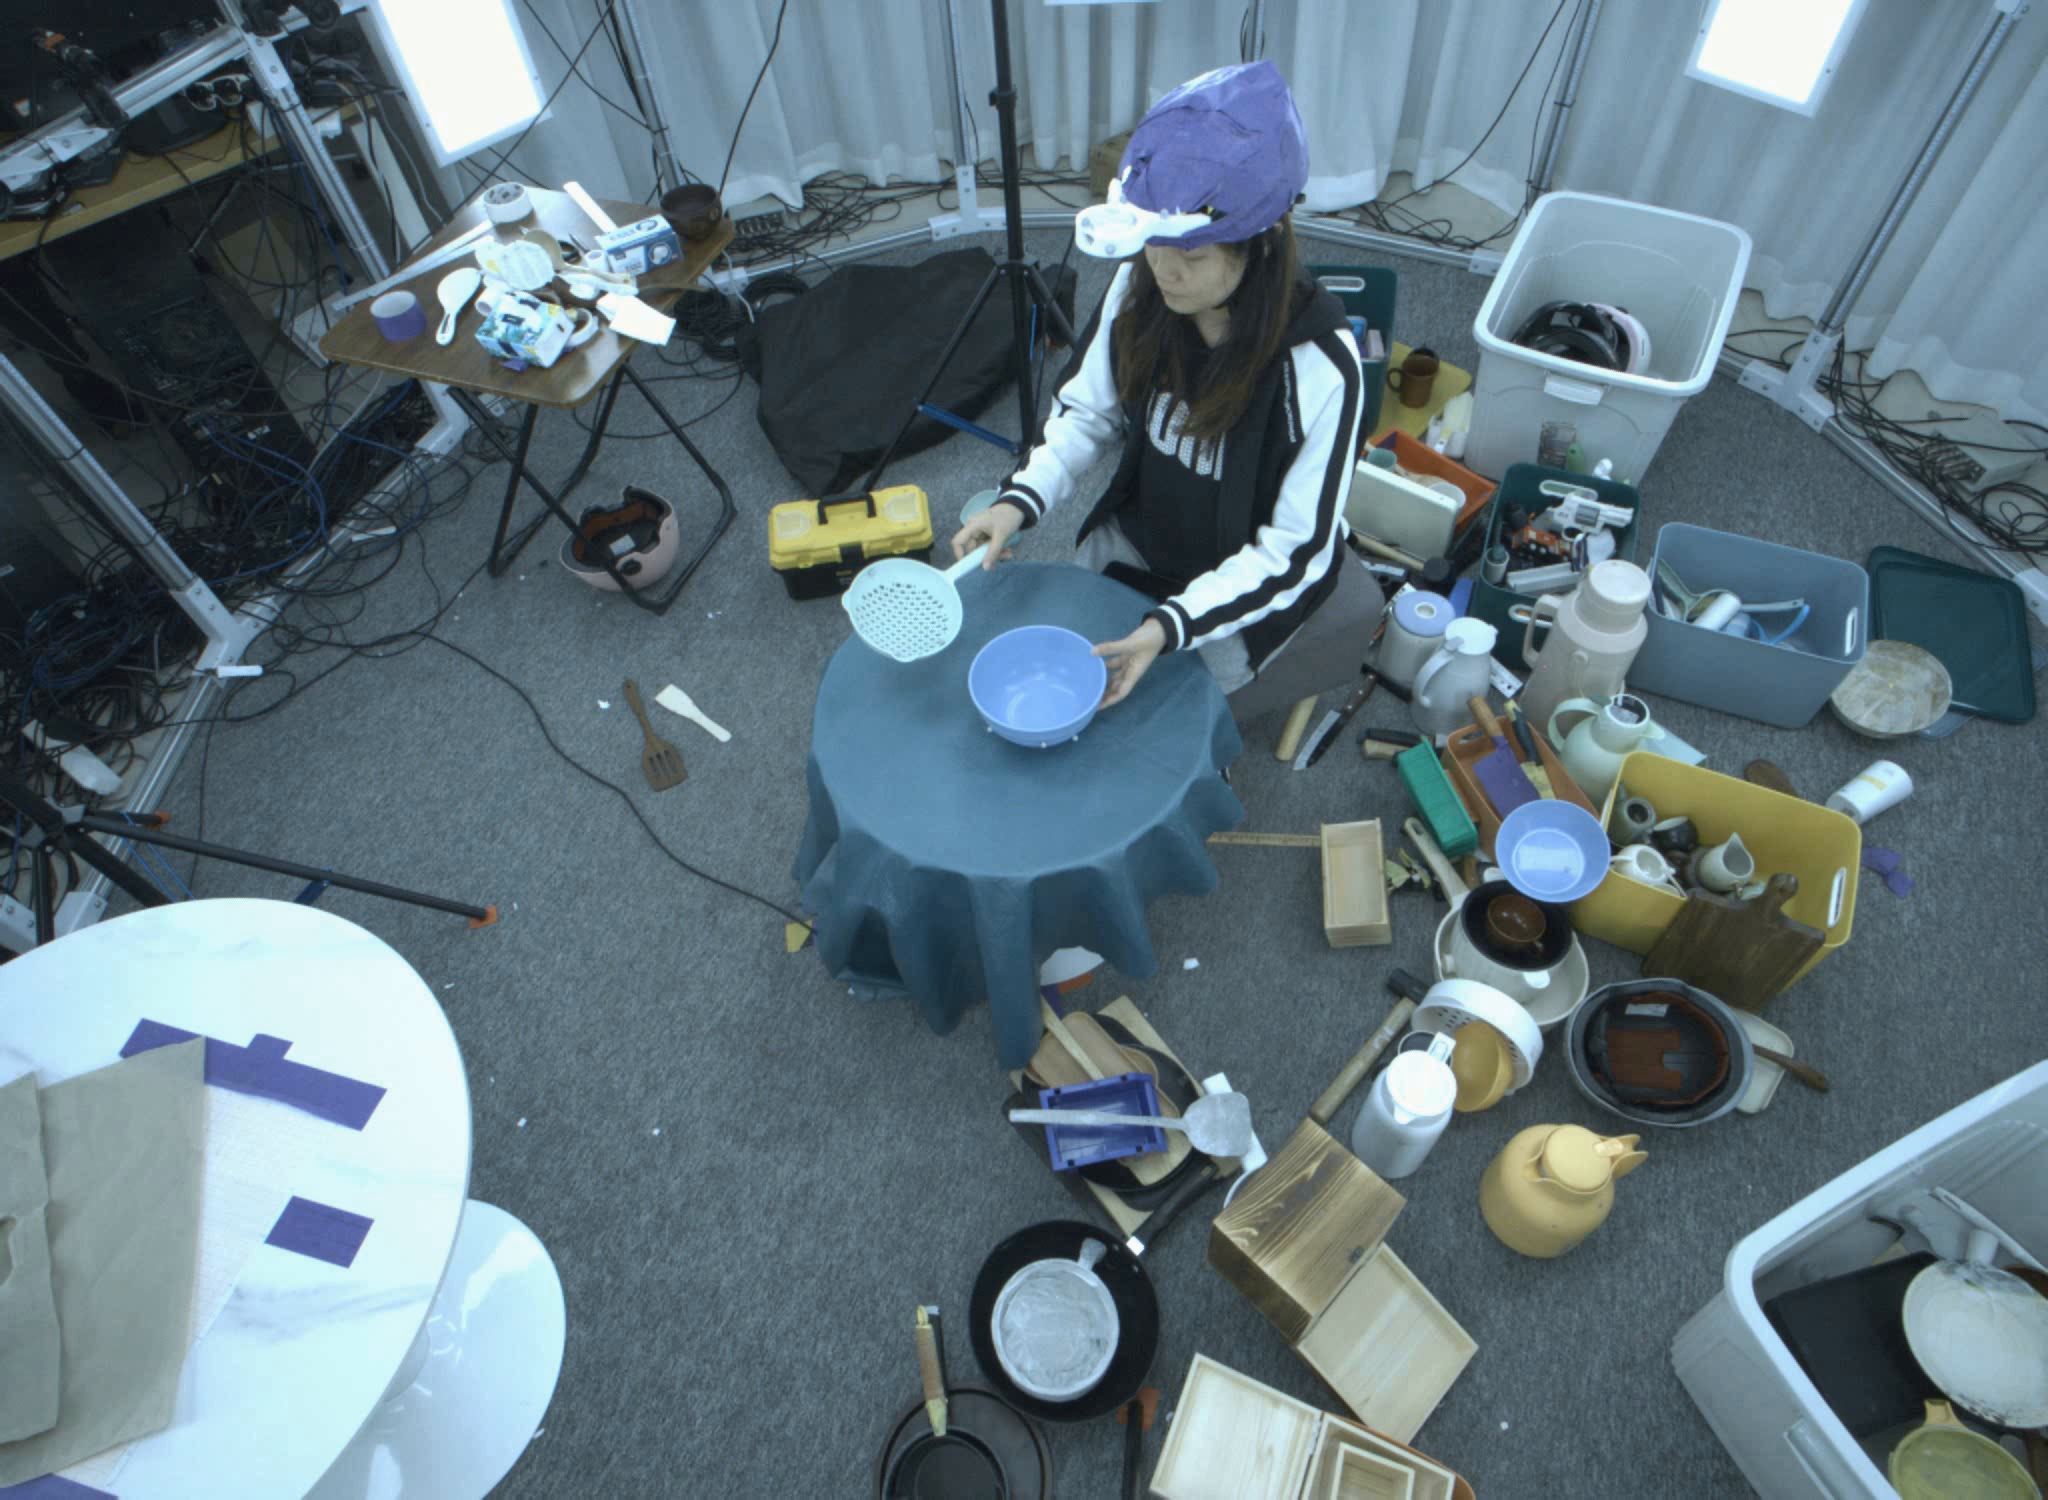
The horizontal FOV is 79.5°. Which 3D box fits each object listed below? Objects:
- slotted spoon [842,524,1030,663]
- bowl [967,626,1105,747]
[{"bbox_3d":[-0.113,-0.258,1.838,0.361,0.075,0.169,-41,86,-24],"label":"slotted spoon"},{"bbox_3d":[0.020,-0.077,1.784,0.196,0.096,0.194,-1,54,2],"label":"bowl"}]
